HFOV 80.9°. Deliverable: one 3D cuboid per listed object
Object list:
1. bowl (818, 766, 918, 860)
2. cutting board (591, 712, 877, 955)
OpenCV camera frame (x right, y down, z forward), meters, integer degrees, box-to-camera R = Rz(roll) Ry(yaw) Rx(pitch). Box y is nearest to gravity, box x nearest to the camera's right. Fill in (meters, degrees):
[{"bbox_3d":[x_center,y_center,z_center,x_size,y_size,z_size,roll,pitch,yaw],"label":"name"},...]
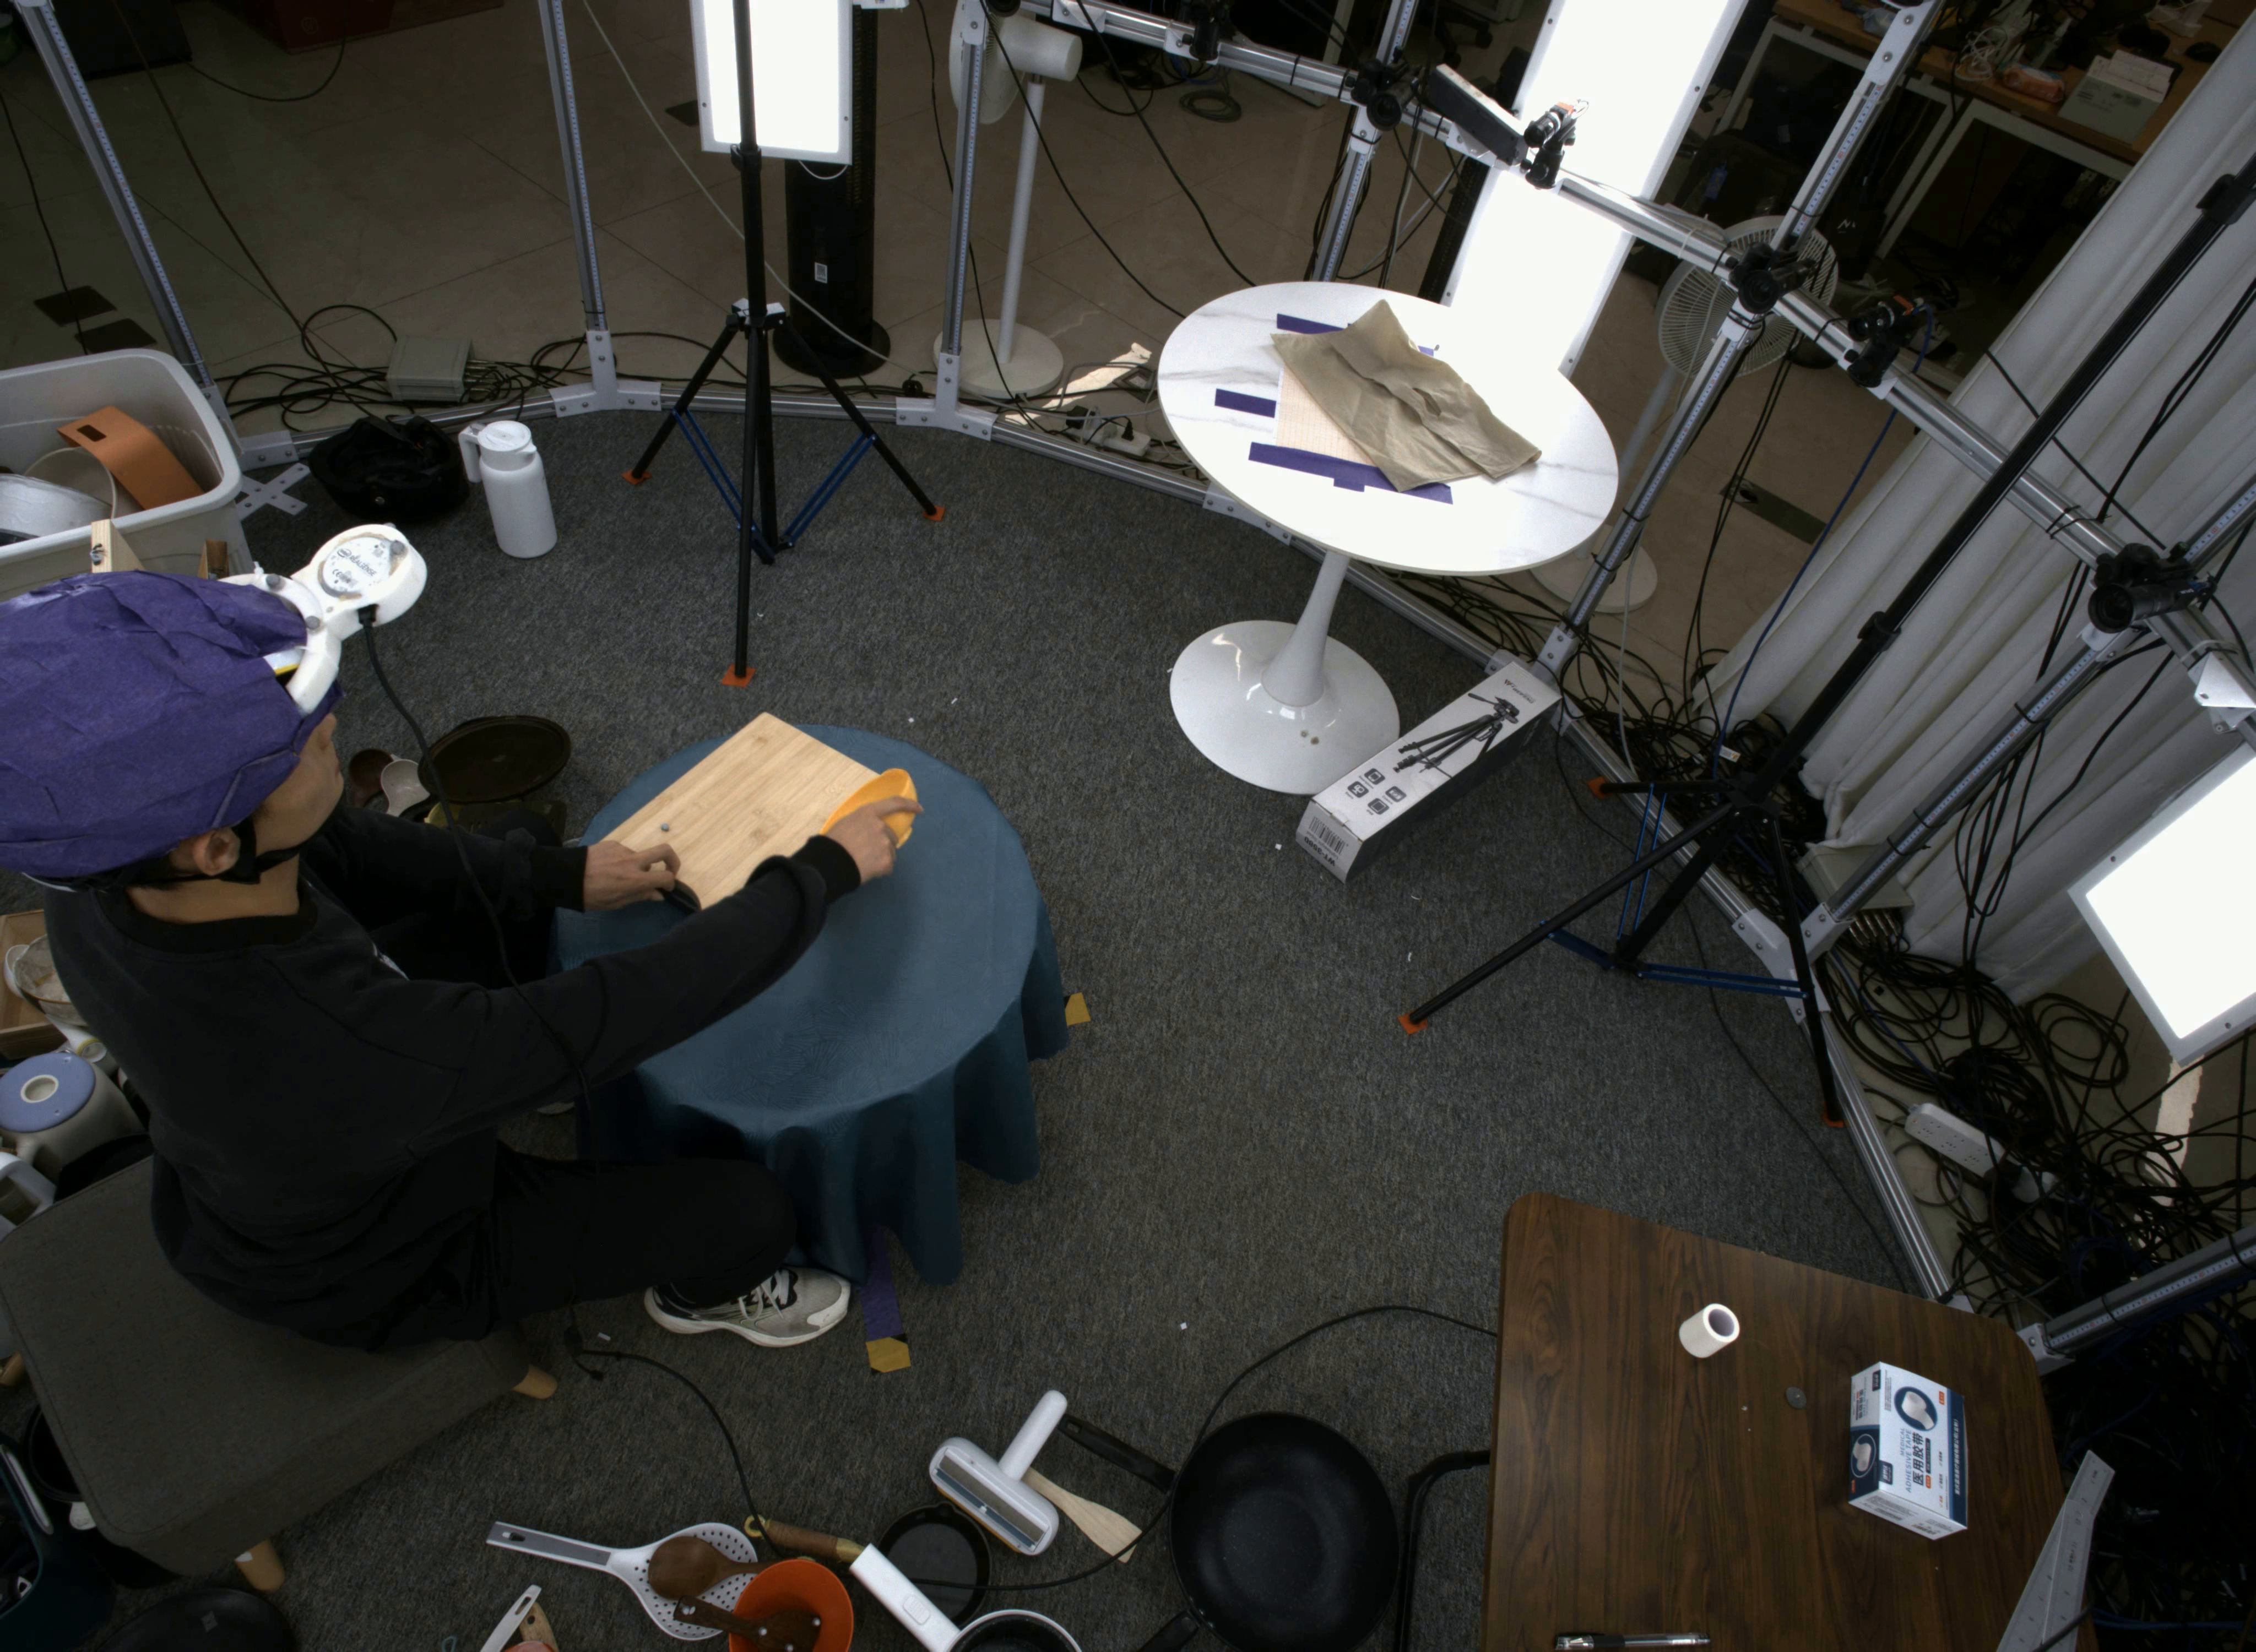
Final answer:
[{"bbox_3d":[-0.312,-0.005,1.619,0.062,0.141,0.144,53,46,-26],"label":"bowl"},{"bbox_3d":[-0.485,-0.003,1.675,0.247,0.024,0.347,28,44,8],"label":"cutting board"}]
